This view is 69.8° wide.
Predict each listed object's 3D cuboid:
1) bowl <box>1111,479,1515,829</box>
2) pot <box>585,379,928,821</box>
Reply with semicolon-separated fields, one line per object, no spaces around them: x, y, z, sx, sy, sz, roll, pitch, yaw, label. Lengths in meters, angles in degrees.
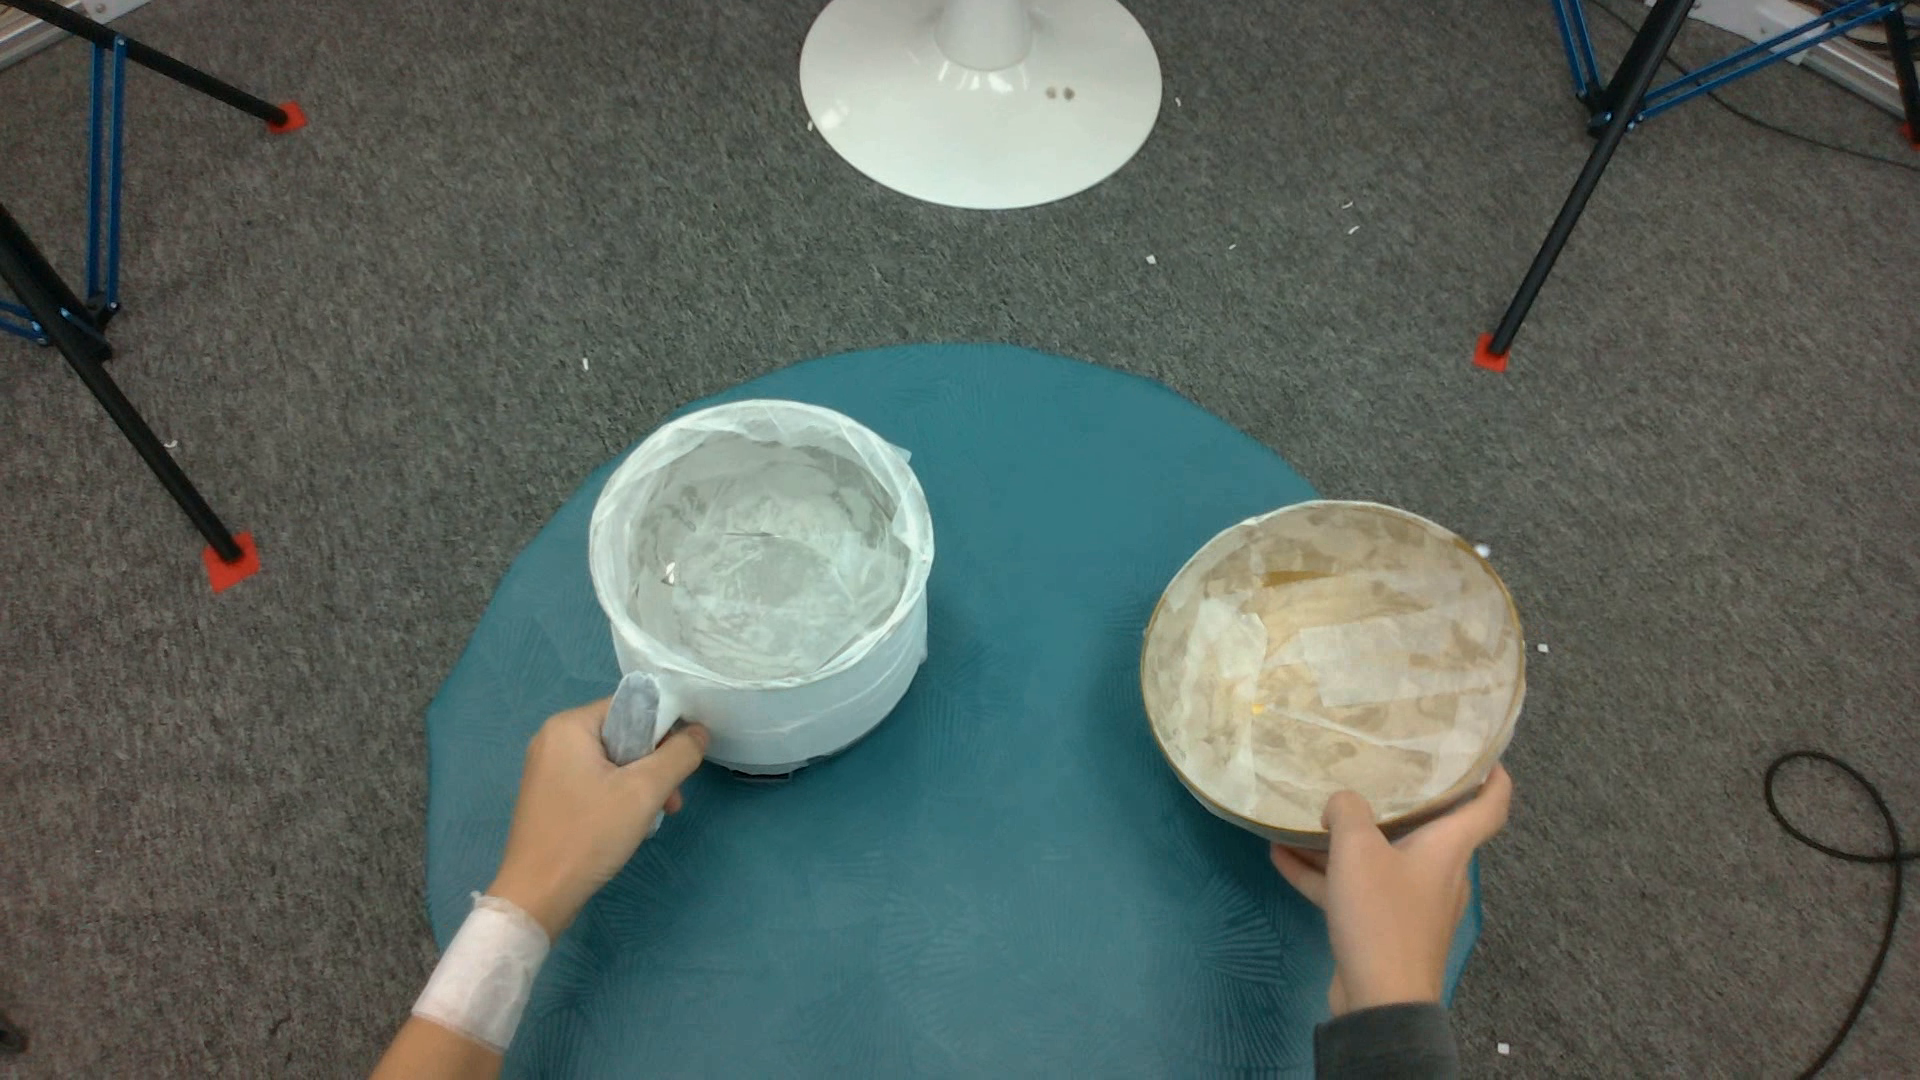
0.201;0.077;0.767;0.214;0.094;0.215;-12;53;17;bowl
-0.122;0.041;0.753;0.178;0.136;0.235;27;61;11;pot
